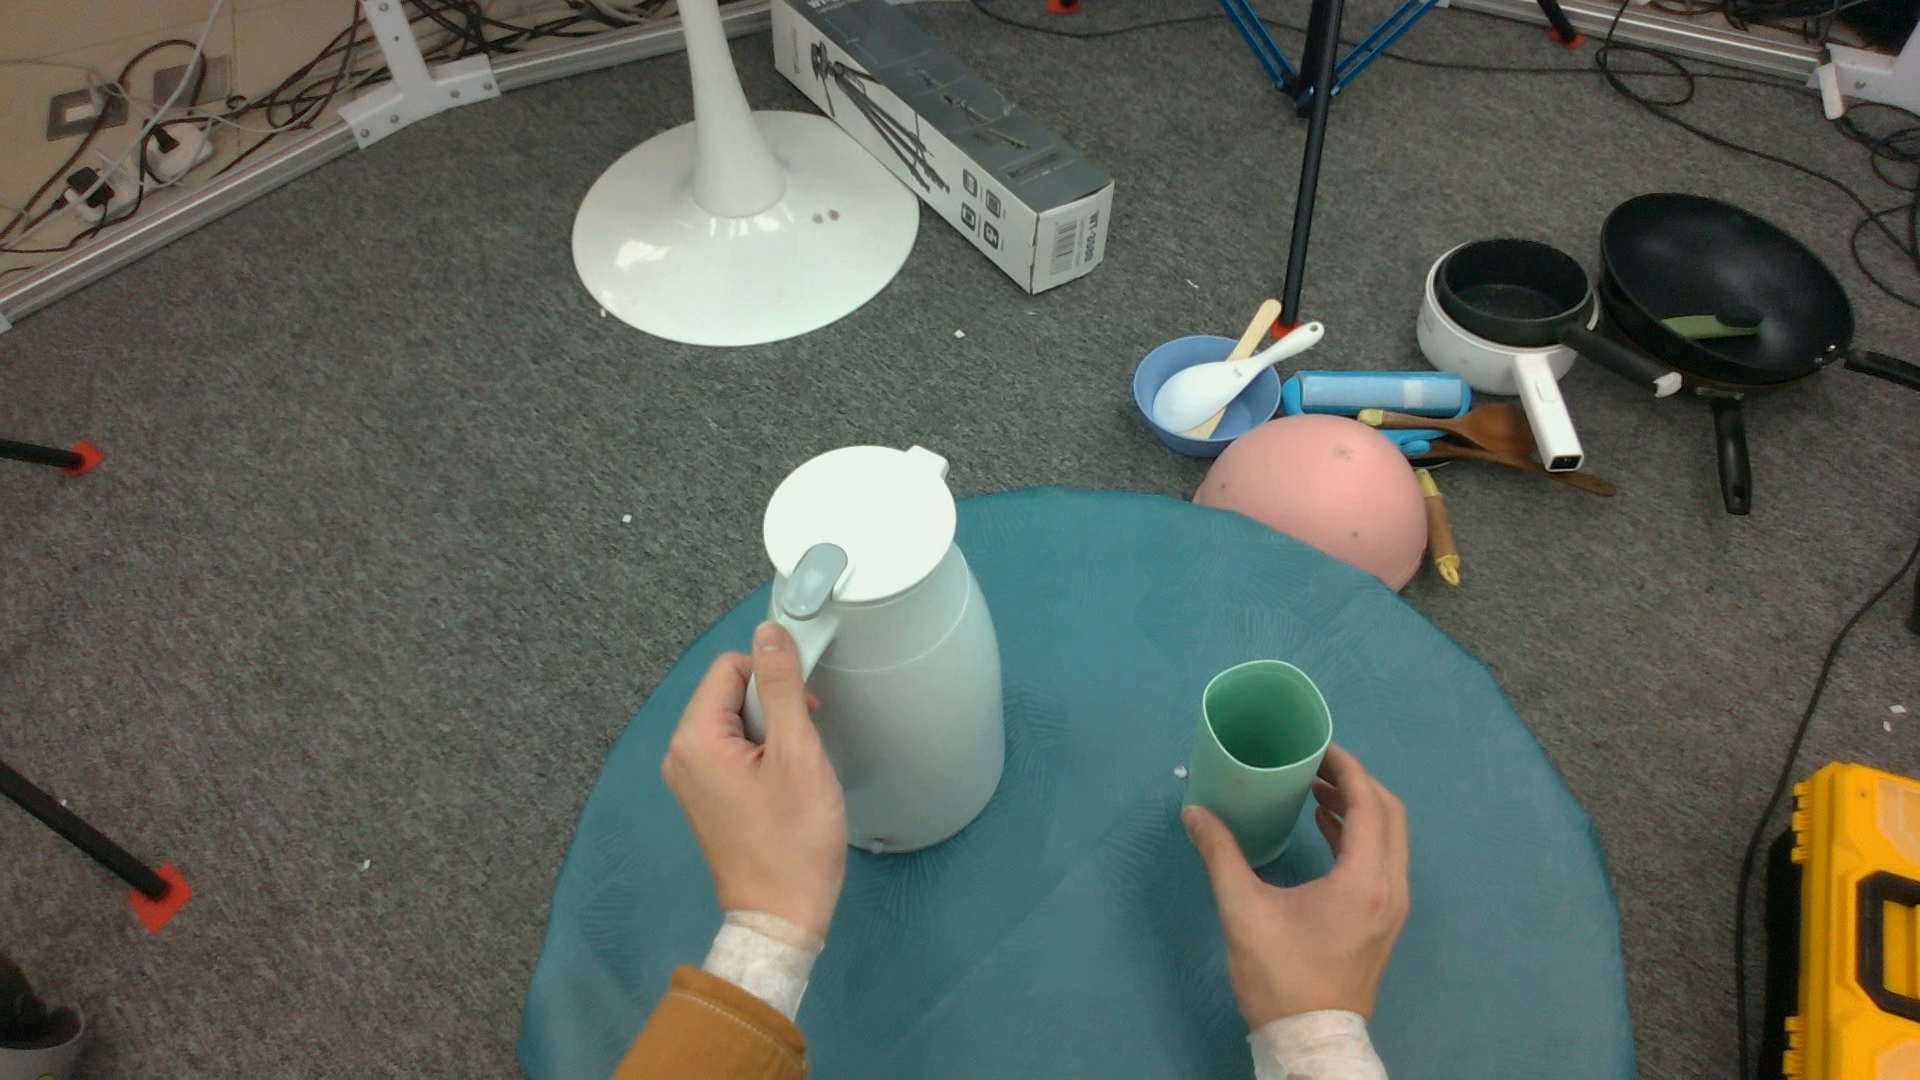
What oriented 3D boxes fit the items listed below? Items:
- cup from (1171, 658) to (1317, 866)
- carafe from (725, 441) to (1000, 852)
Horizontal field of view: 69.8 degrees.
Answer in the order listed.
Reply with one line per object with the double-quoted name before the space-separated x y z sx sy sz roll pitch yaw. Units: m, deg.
"cup" 0.154 0.127 0.760 0.067 0.132 0.067 -1 54 2
"carafe" -0.057 0.071 0.732 0.132 0.247 0.168 25 59 20
